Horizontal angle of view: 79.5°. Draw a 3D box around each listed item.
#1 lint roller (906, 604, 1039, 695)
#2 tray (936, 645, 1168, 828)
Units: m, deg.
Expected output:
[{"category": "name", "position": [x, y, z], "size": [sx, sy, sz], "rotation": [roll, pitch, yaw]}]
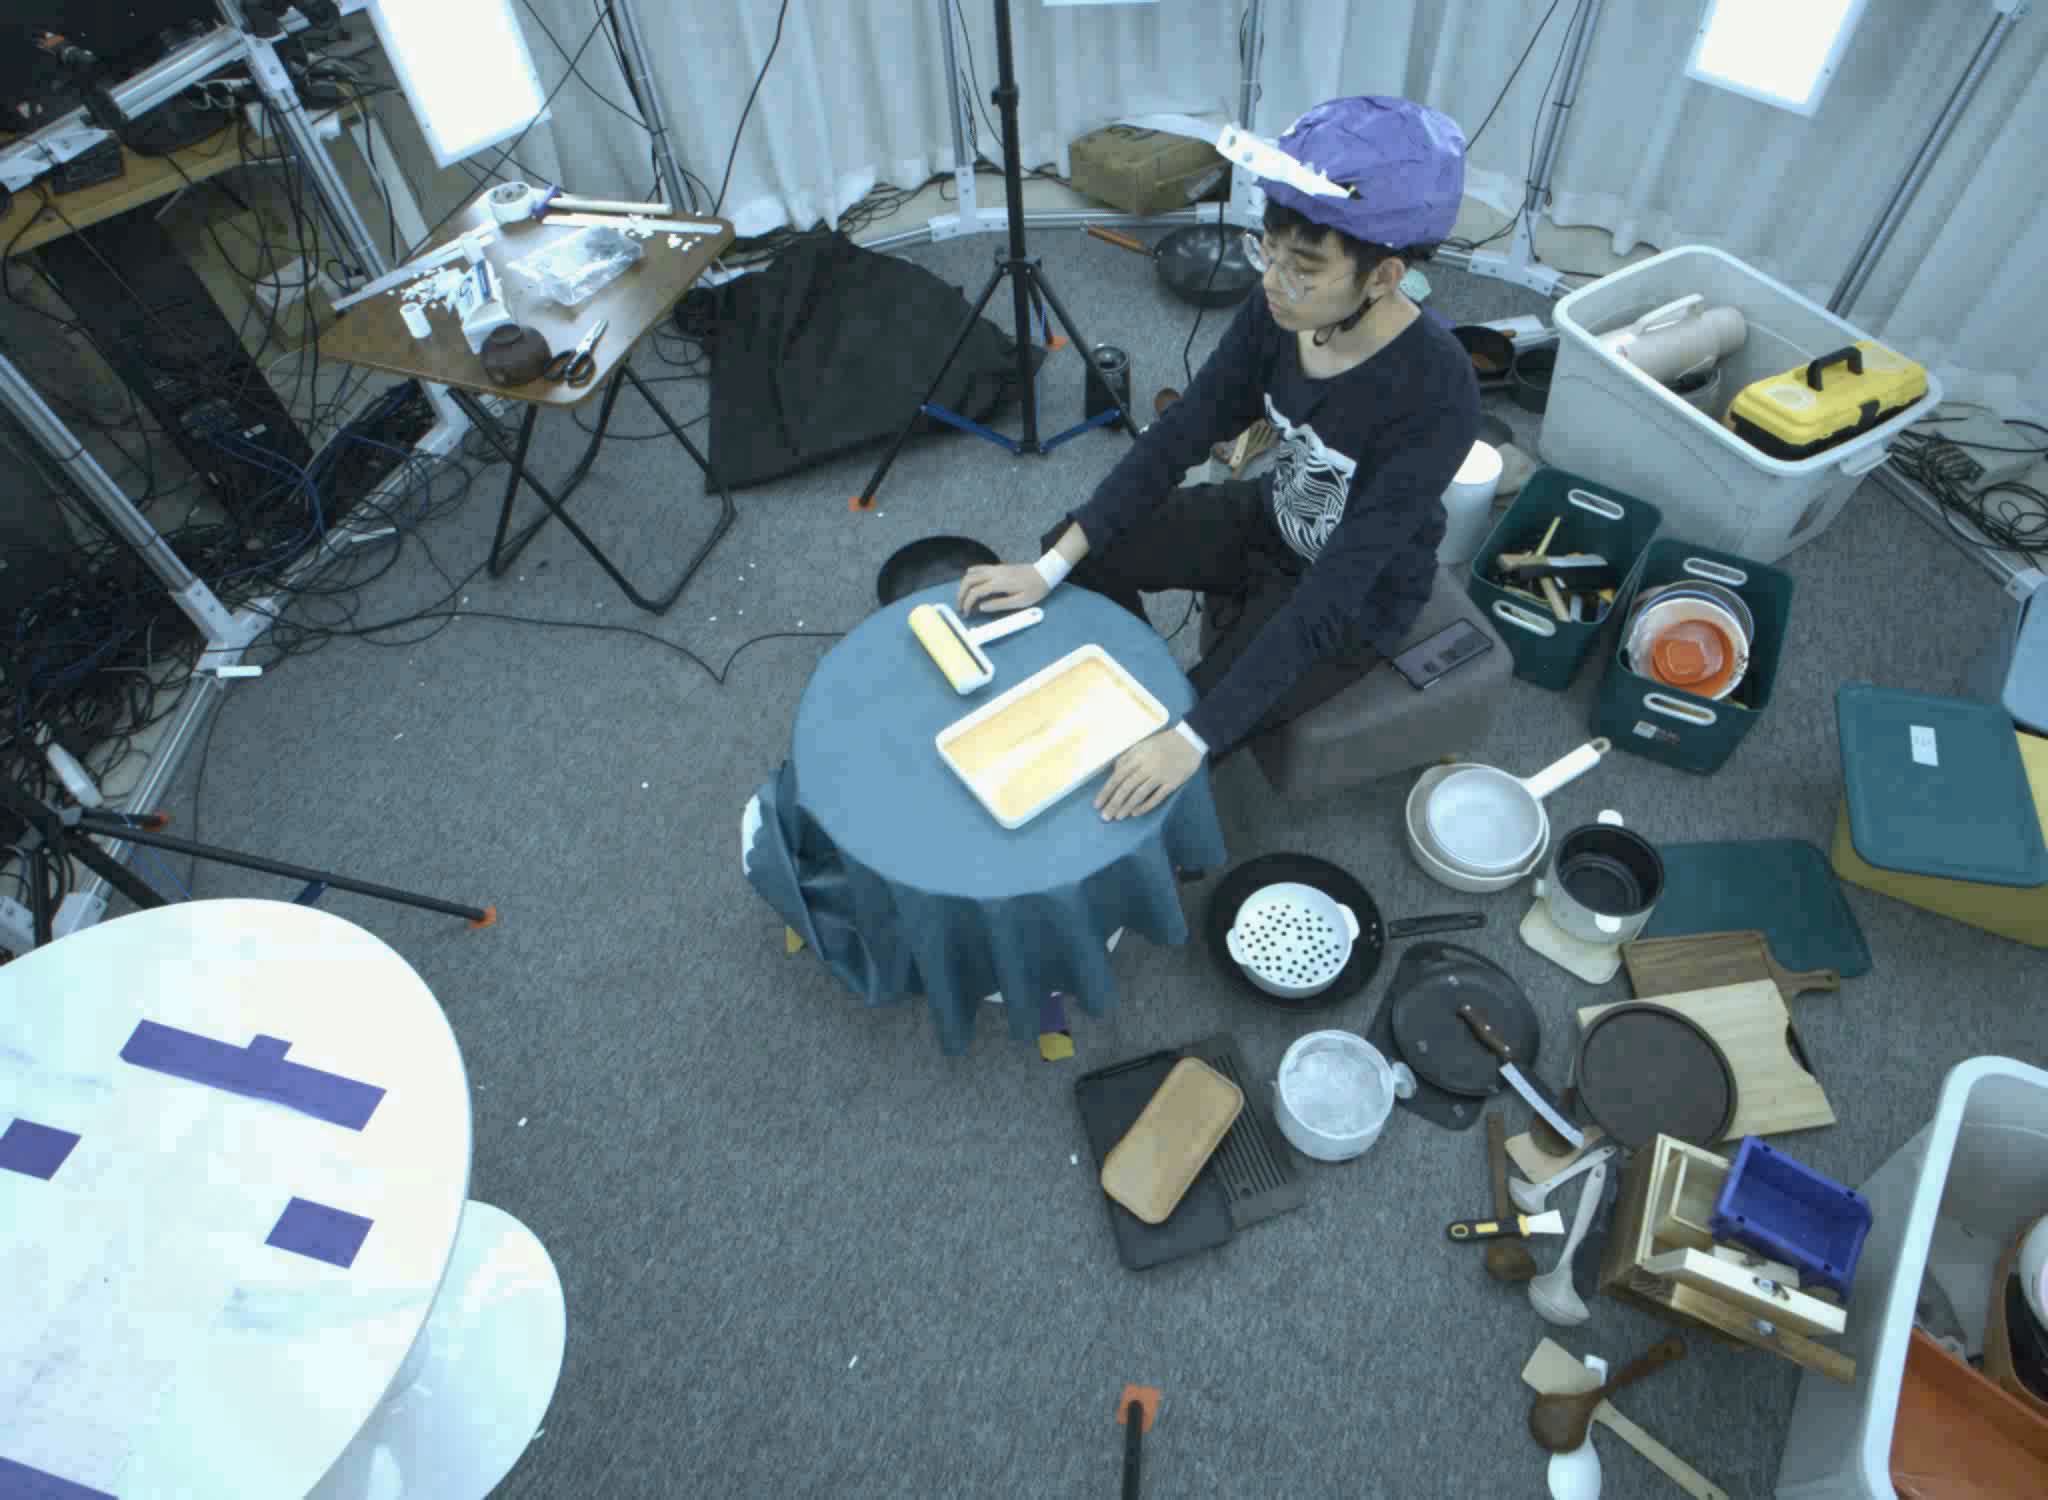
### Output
[{"category": "lint roller", "position": [-0.061, -0.188, 1.901], "size": [0.193, 0.052, 0.171], "rotation": [-30, 60, -14]}, {"category": "tray", "position": [0.042, -0.025, 1.796], "size": [0.303, 0.027, 0.188], "rotation": [-32, 60, -20]}]
